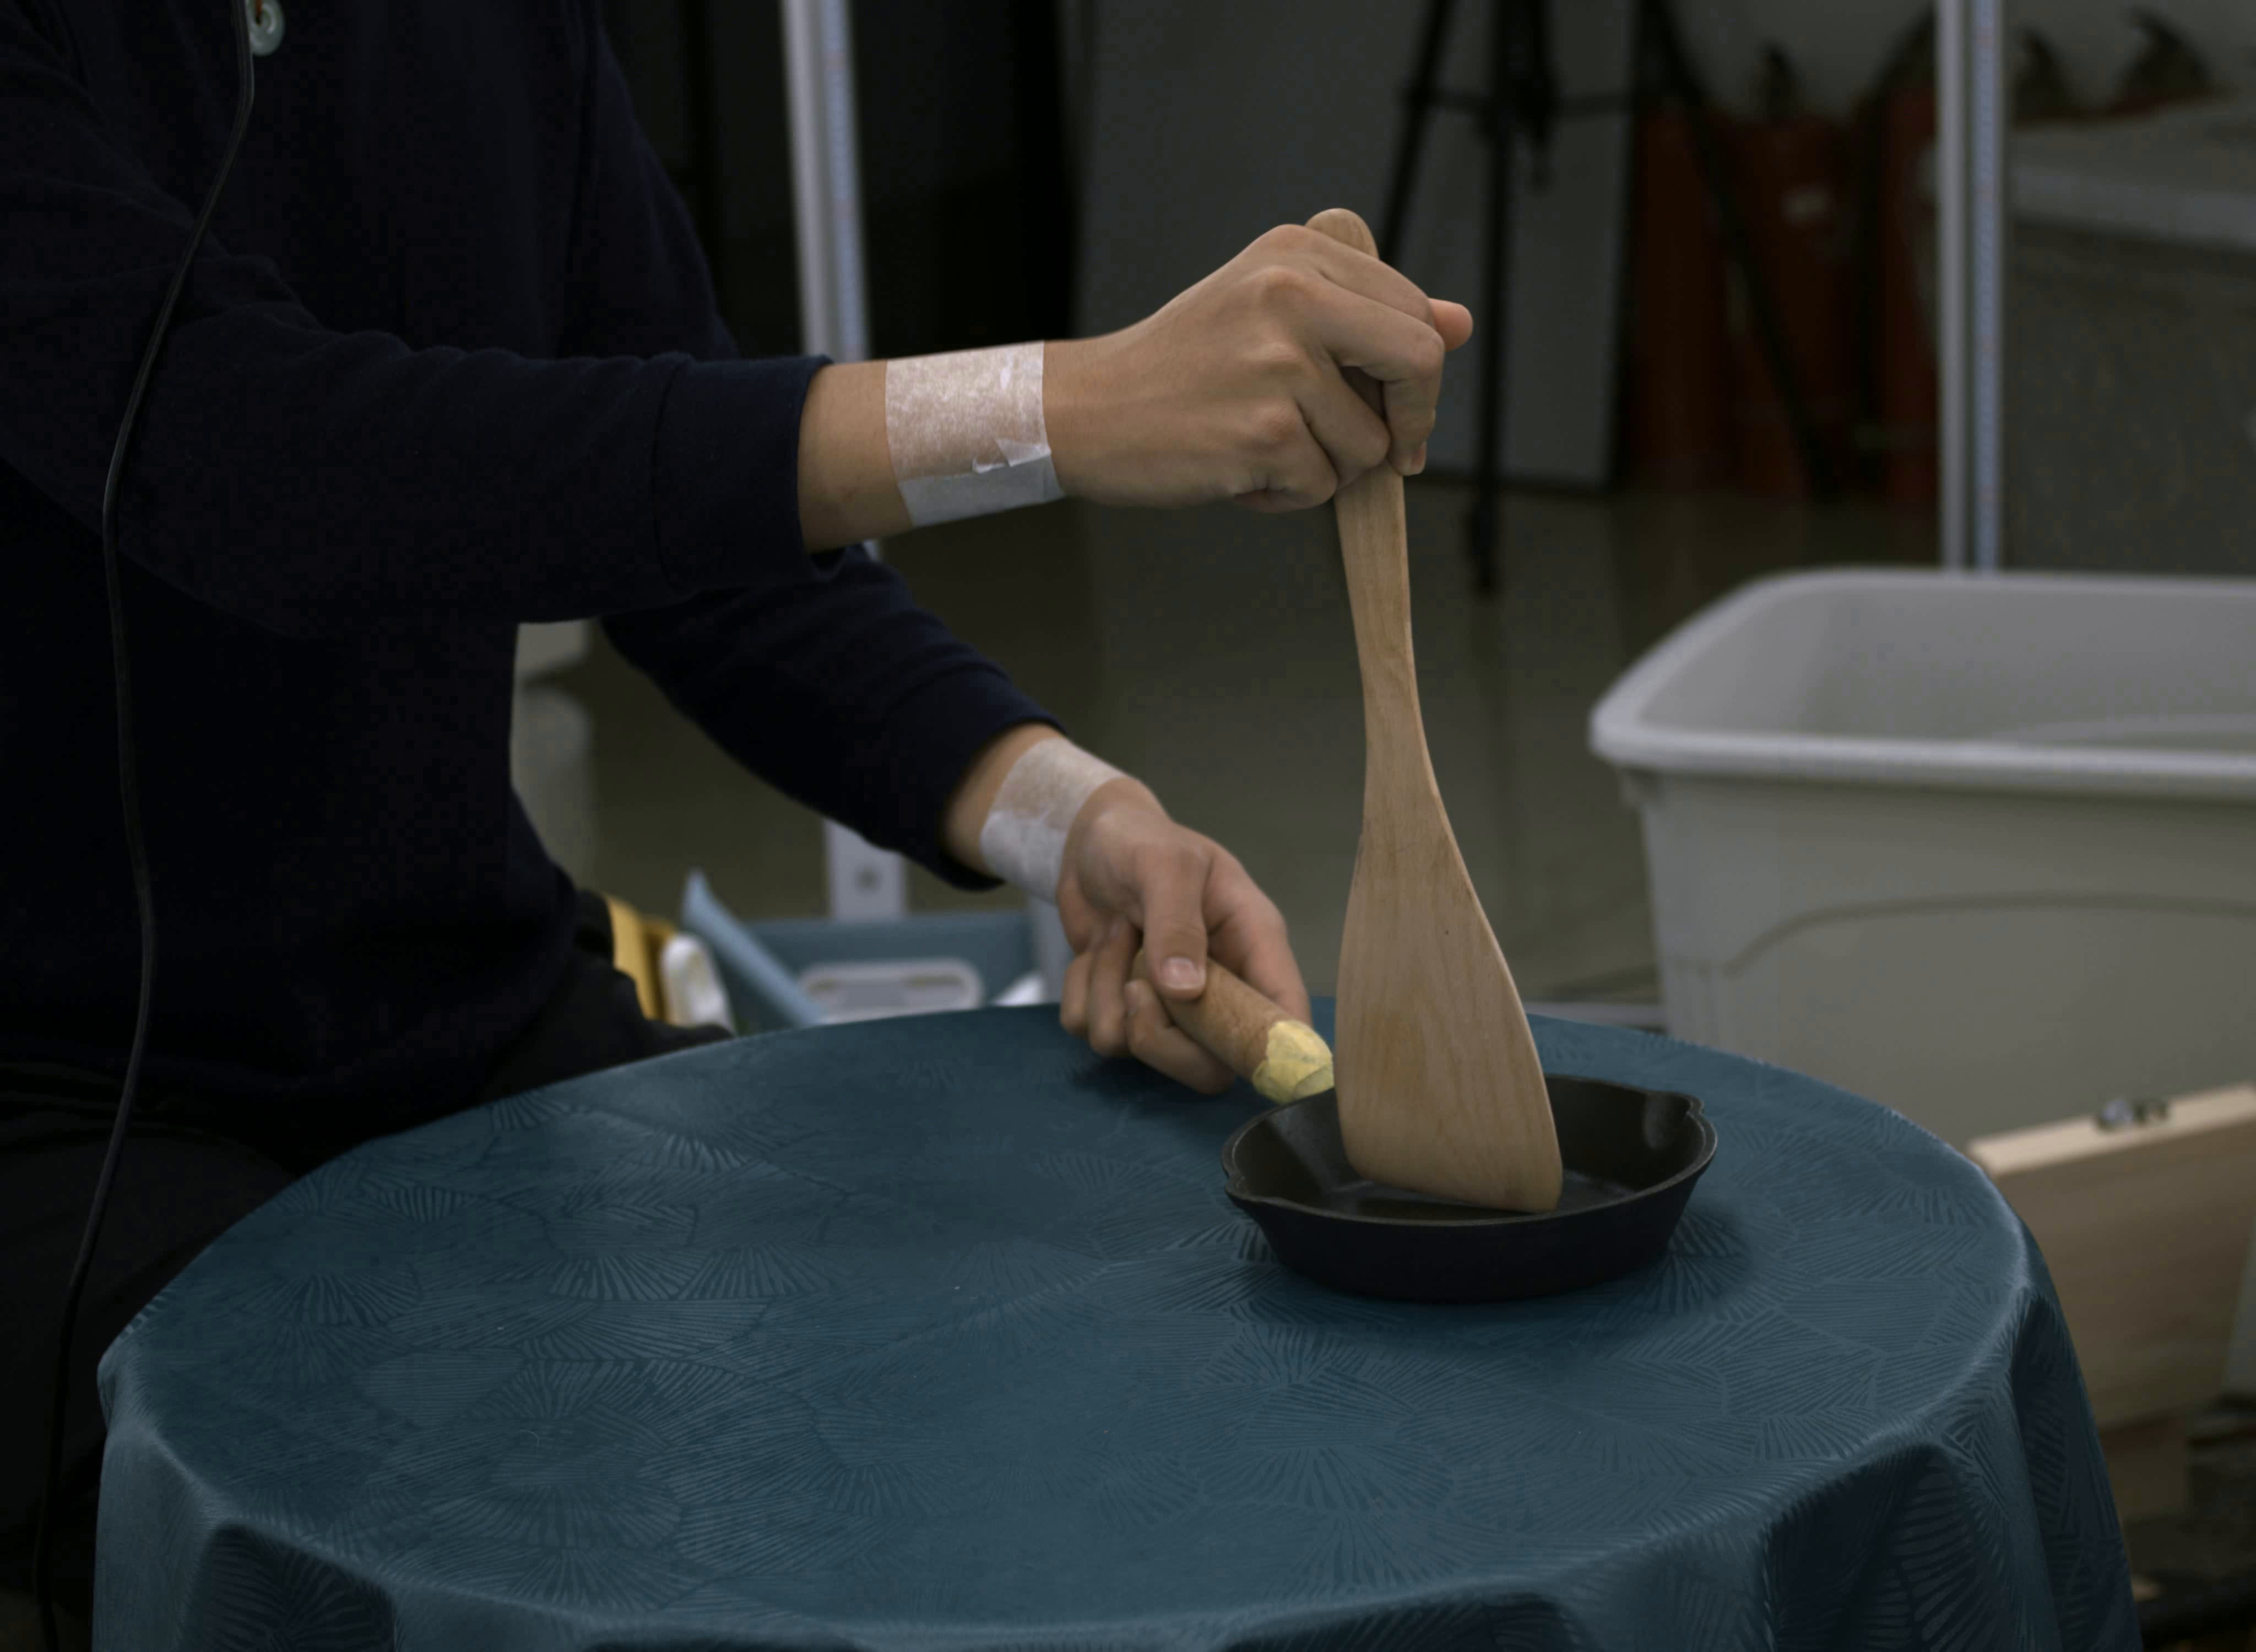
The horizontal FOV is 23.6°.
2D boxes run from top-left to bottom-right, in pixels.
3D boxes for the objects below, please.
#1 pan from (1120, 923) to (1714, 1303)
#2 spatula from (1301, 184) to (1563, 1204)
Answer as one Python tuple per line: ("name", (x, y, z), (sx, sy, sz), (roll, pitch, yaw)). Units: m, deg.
("pan", (0.073, 0.090, 1.769), (0.165, 0.050, 0.327), (-10, 16, -22))
("spatula", (0.085, -0.036, 1.704), (0.080, 0.331, 0.016), (-4, 6, 31))
